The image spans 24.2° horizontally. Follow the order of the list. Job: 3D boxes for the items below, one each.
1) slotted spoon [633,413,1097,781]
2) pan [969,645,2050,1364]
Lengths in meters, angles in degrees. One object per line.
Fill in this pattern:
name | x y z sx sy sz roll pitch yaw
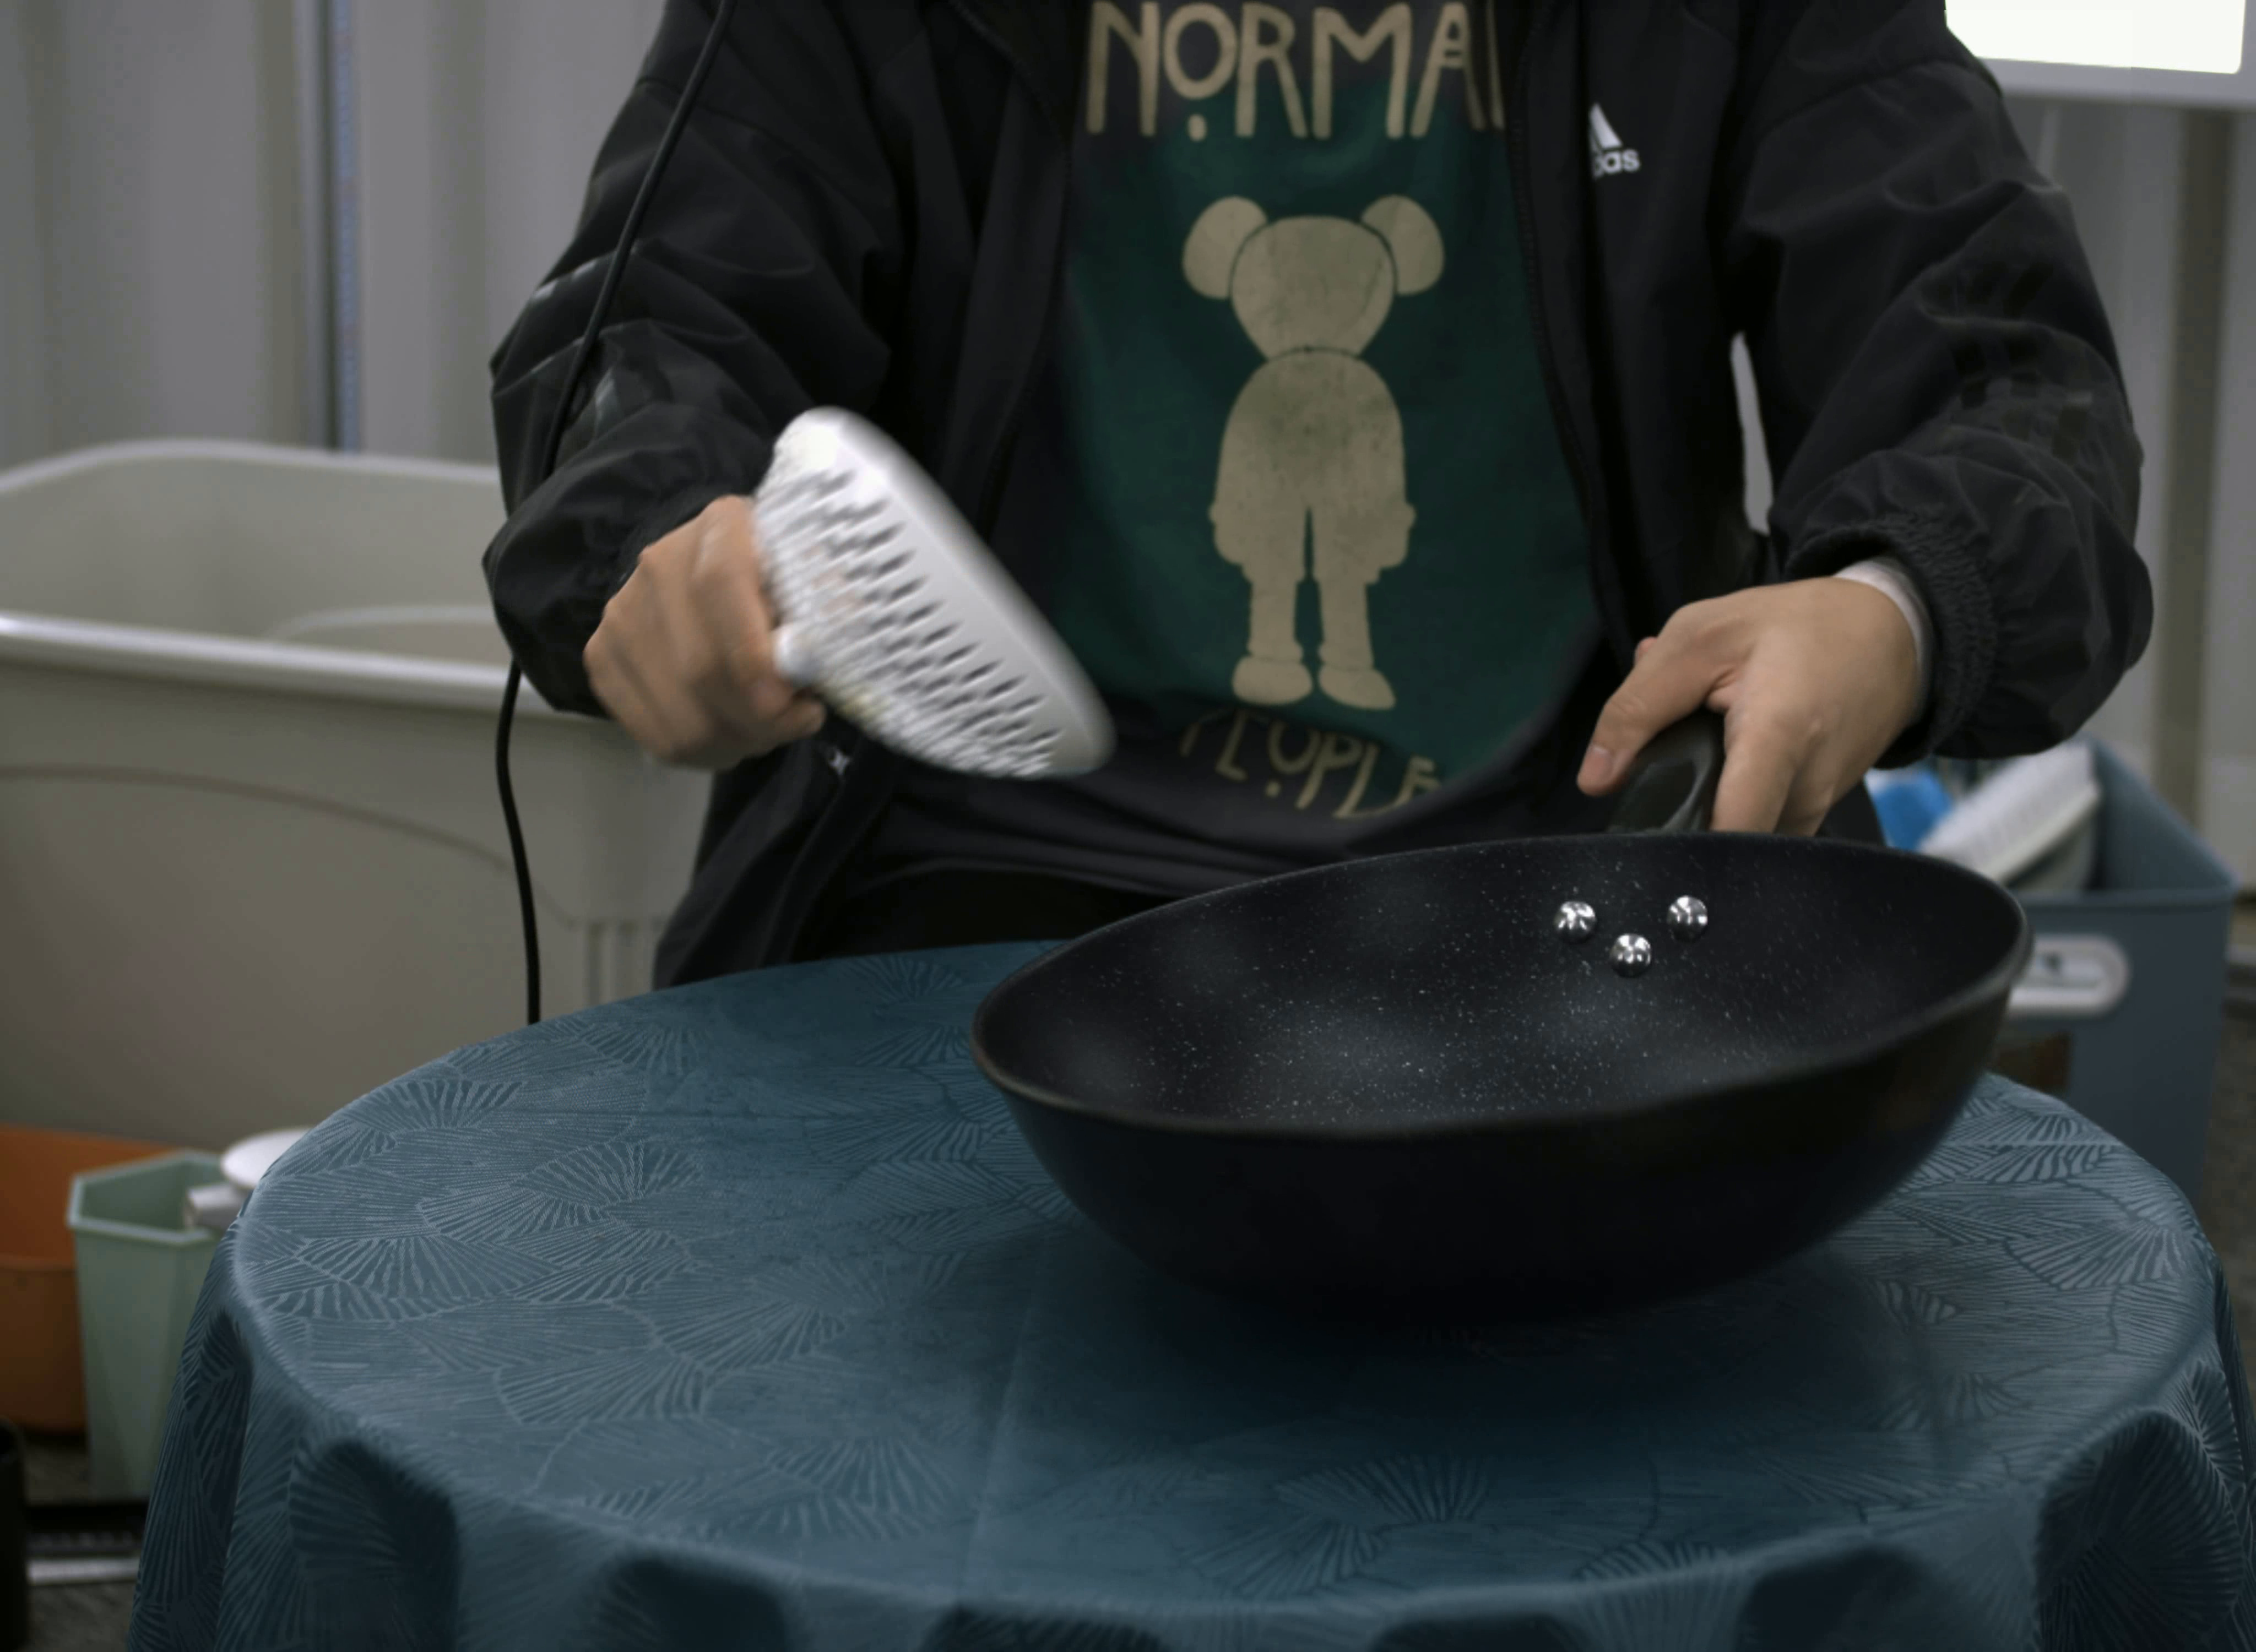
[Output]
slotted spoon | -0.100 -0.048 1.617 0.050 0.137 0.346 -44 8 -12
pan | 0.138 0.053 1.594 0.307 0.112 0.477 0 16 20
